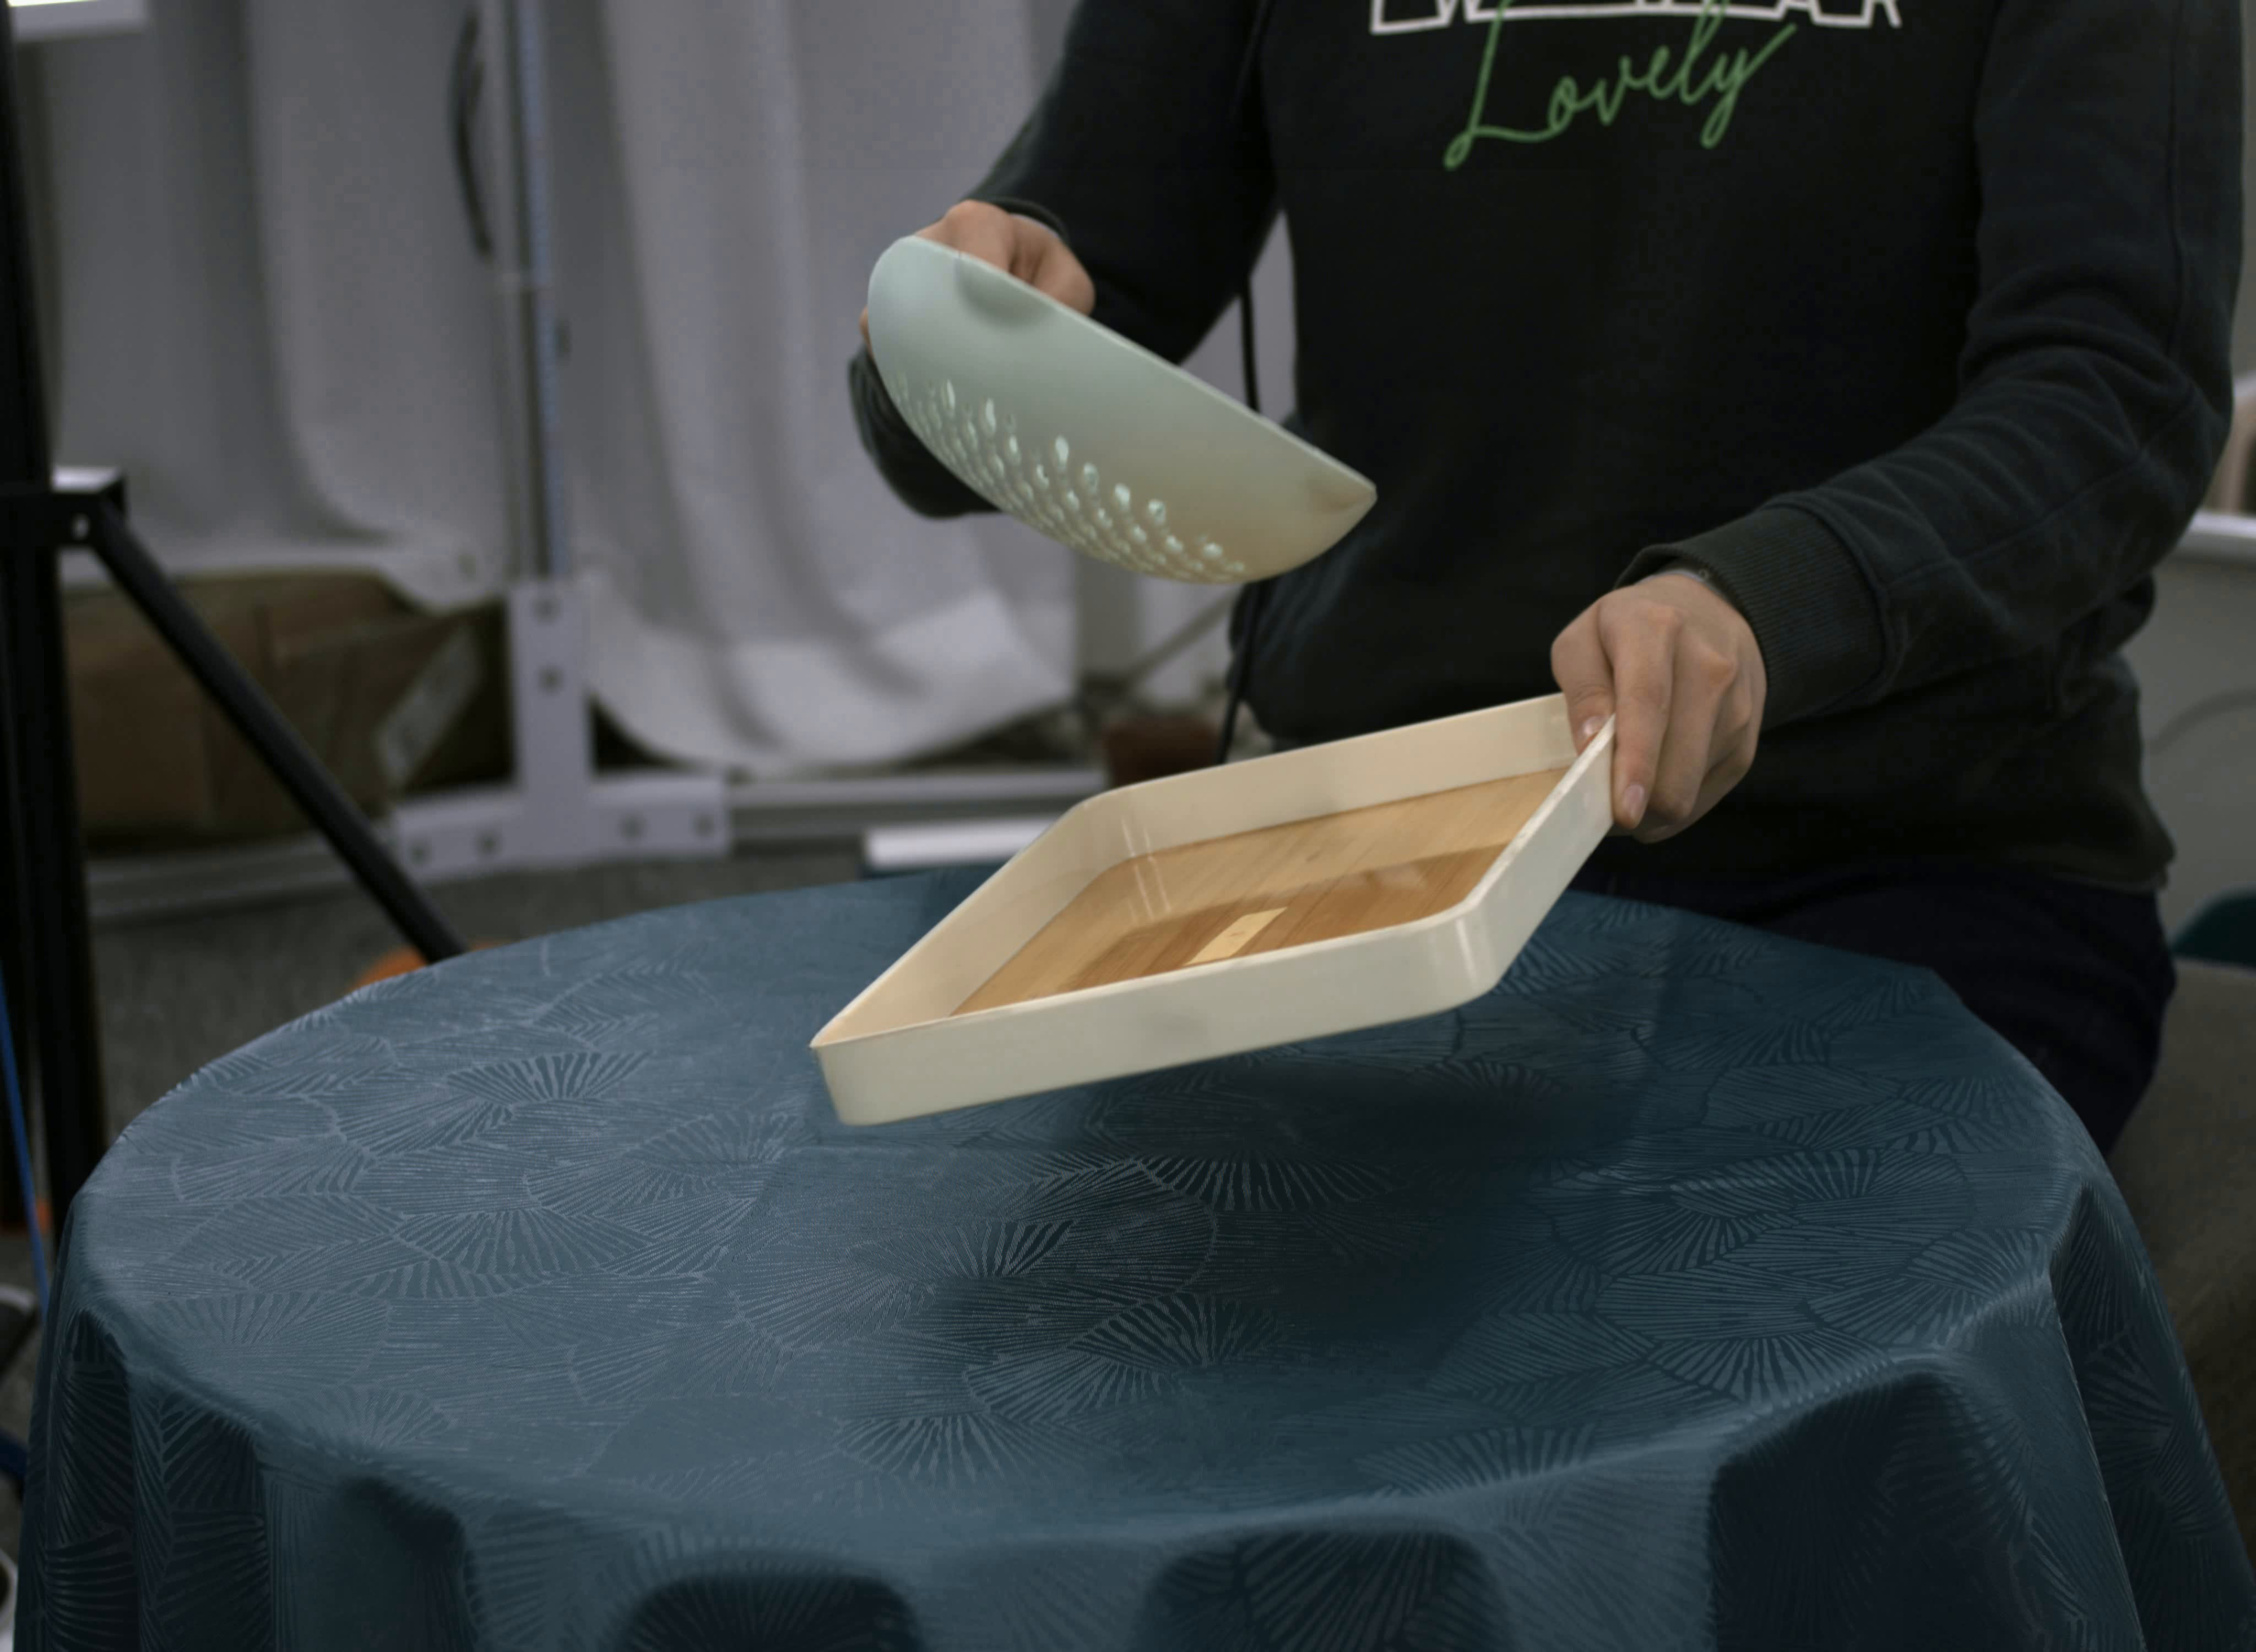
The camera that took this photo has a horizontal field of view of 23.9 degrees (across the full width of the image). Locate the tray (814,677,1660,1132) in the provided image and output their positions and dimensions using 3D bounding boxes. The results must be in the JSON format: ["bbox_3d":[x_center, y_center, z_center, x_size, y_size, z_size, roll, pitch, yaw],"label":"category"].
[{"bbox_3d":[0.040,0.020,1.531,0.193,0.027,0.297,-13,11,19],"label":"tray"}]

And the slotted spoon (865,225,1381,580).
[{"bbox_3d":[-0.026,-0.138,1.689,0.167,0.075,0.362,29,7,-13],"label":"slotted spoon"}]
